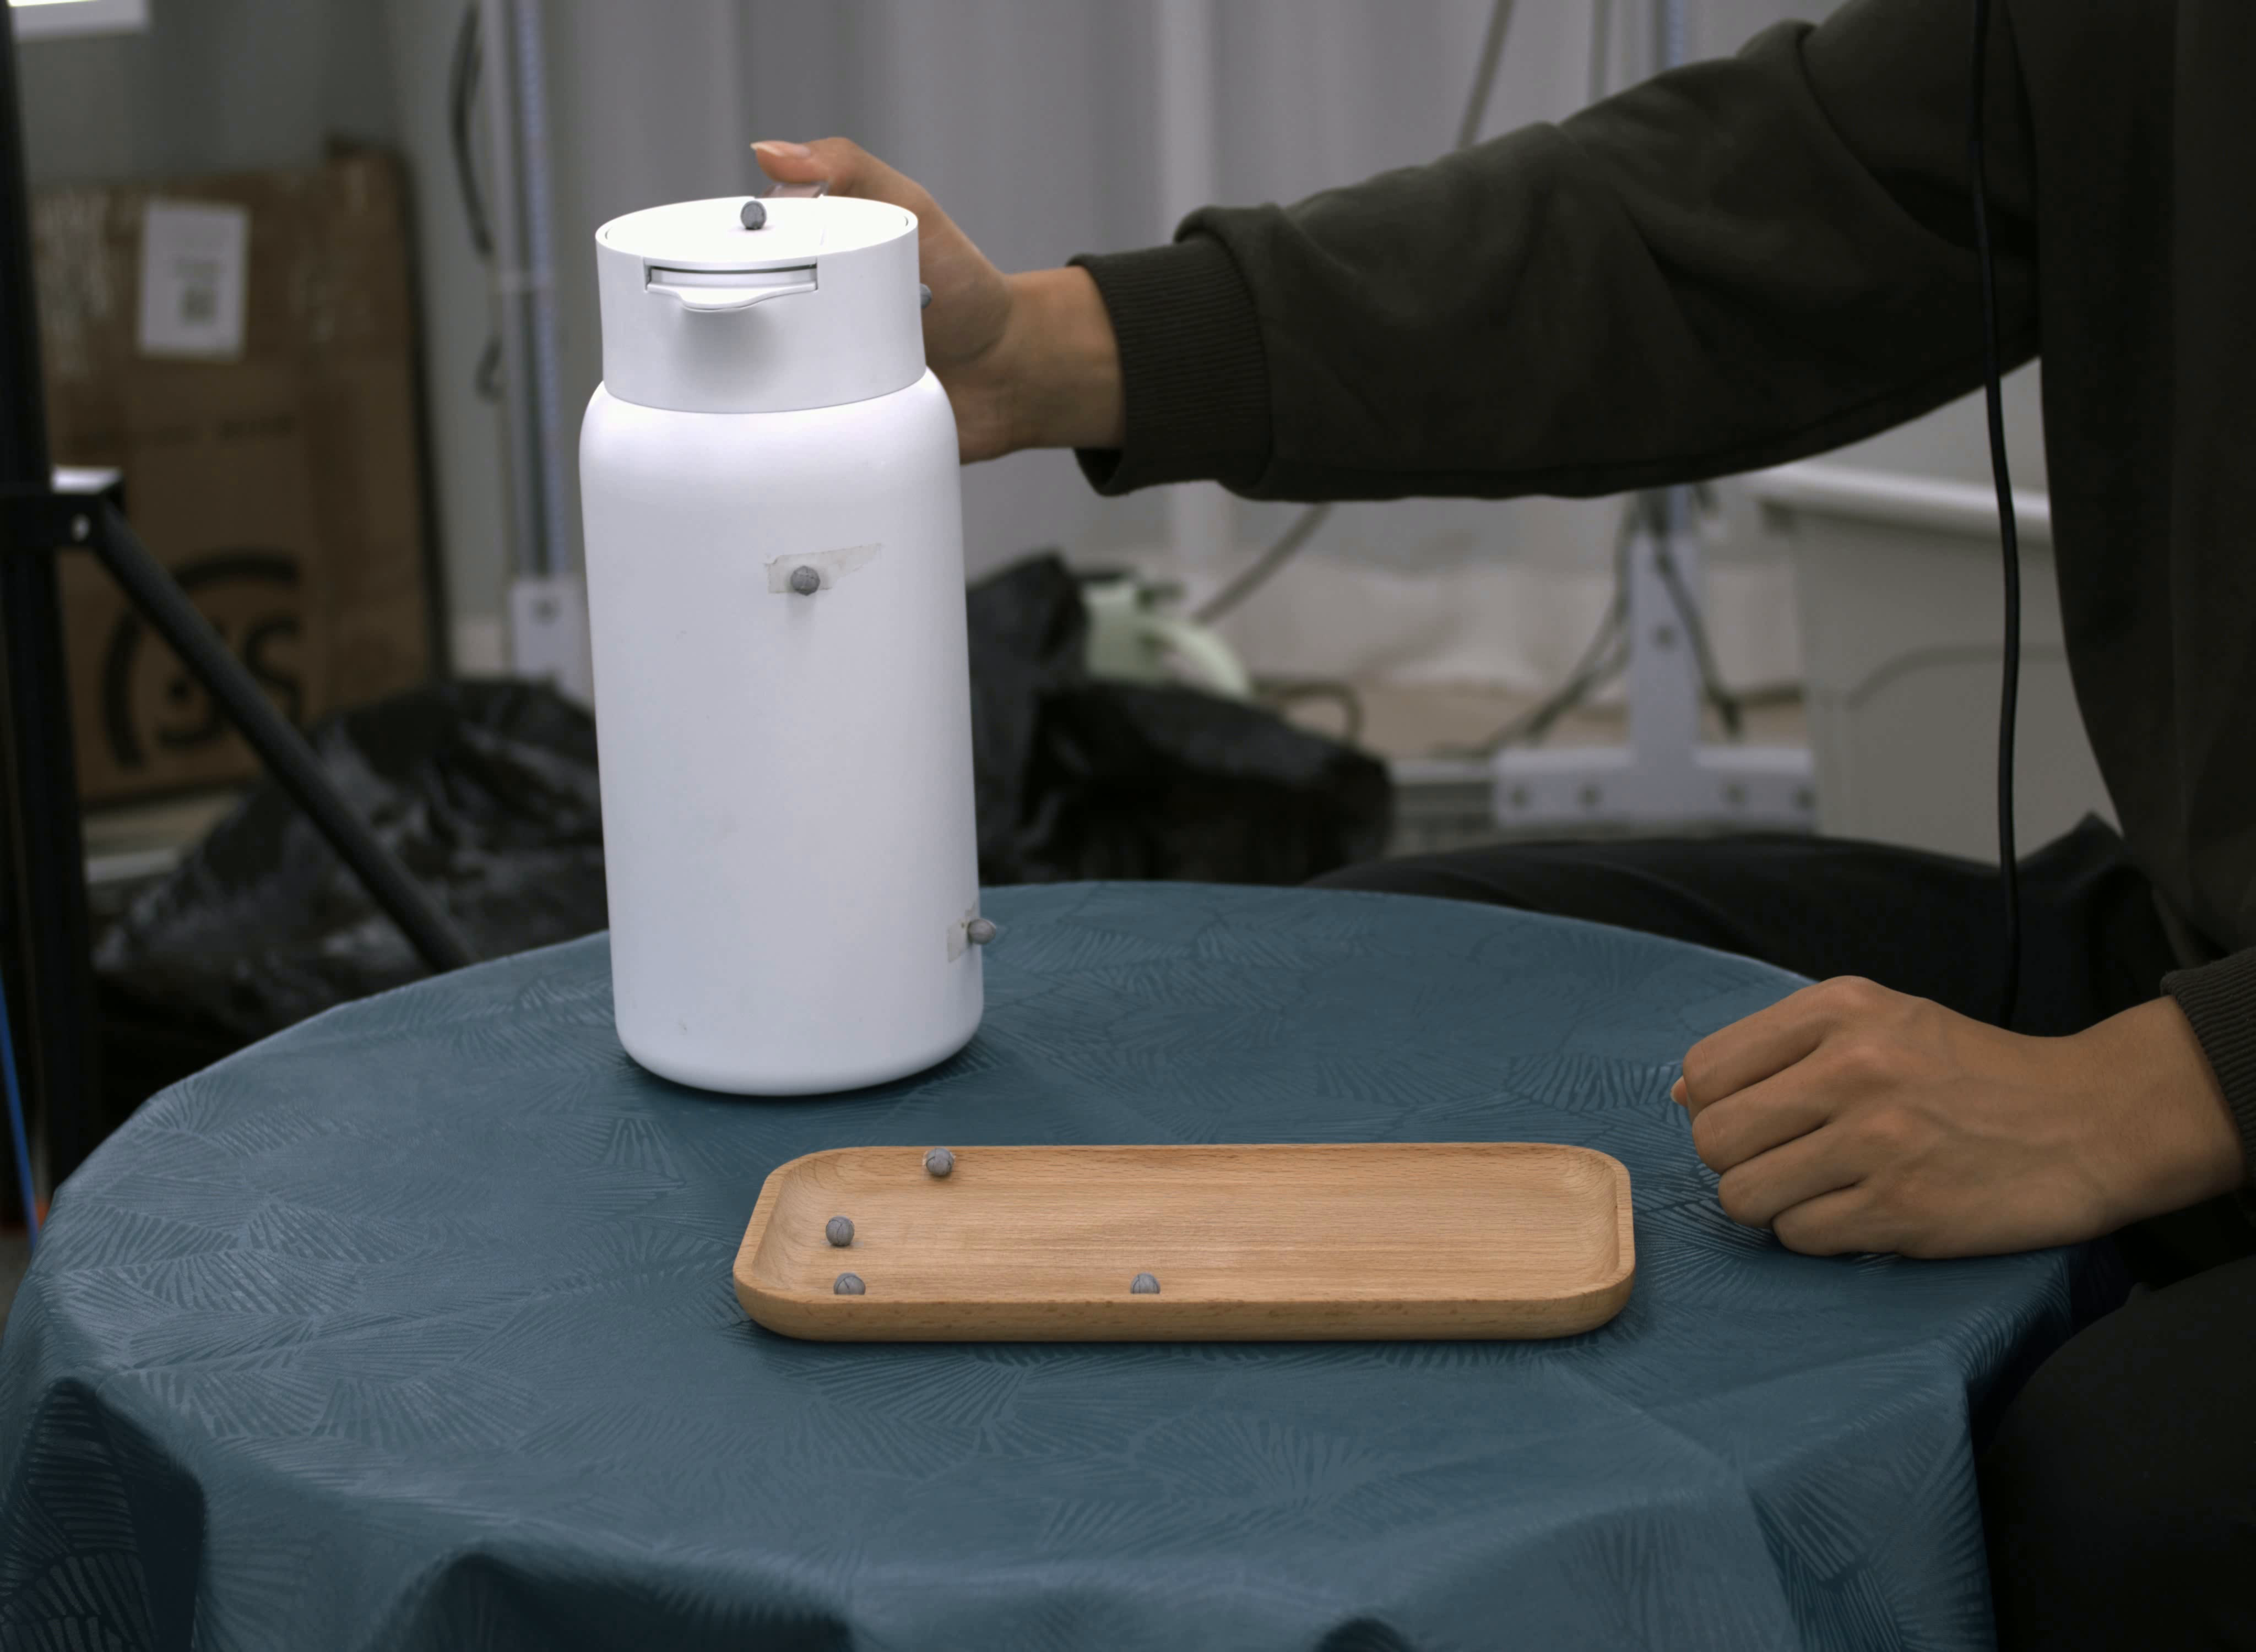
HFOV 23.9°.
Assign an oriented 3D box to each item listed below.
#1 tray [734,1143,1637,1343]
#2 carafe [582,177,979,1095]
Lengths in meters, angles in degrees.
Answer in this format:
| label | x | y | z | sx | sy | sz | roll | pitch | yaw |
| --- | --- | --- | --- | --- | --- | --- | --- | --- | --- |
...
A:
| label | x | y | z | sx | sy | sz | roll | pitch | yaw |
| --- | --- | --- | --- | --- | --- | --- | --- | --- | --- |
| tray | 0.018 | 0.118 | 1.495 | 0.251 | 0.023 | 0.130 | 0 | 18 | 7 |
| carafe | -0.107 | -0.063 | 1.682 | 0.124 | 0.268 | 0.172 | -1 | 17 | 10 |
